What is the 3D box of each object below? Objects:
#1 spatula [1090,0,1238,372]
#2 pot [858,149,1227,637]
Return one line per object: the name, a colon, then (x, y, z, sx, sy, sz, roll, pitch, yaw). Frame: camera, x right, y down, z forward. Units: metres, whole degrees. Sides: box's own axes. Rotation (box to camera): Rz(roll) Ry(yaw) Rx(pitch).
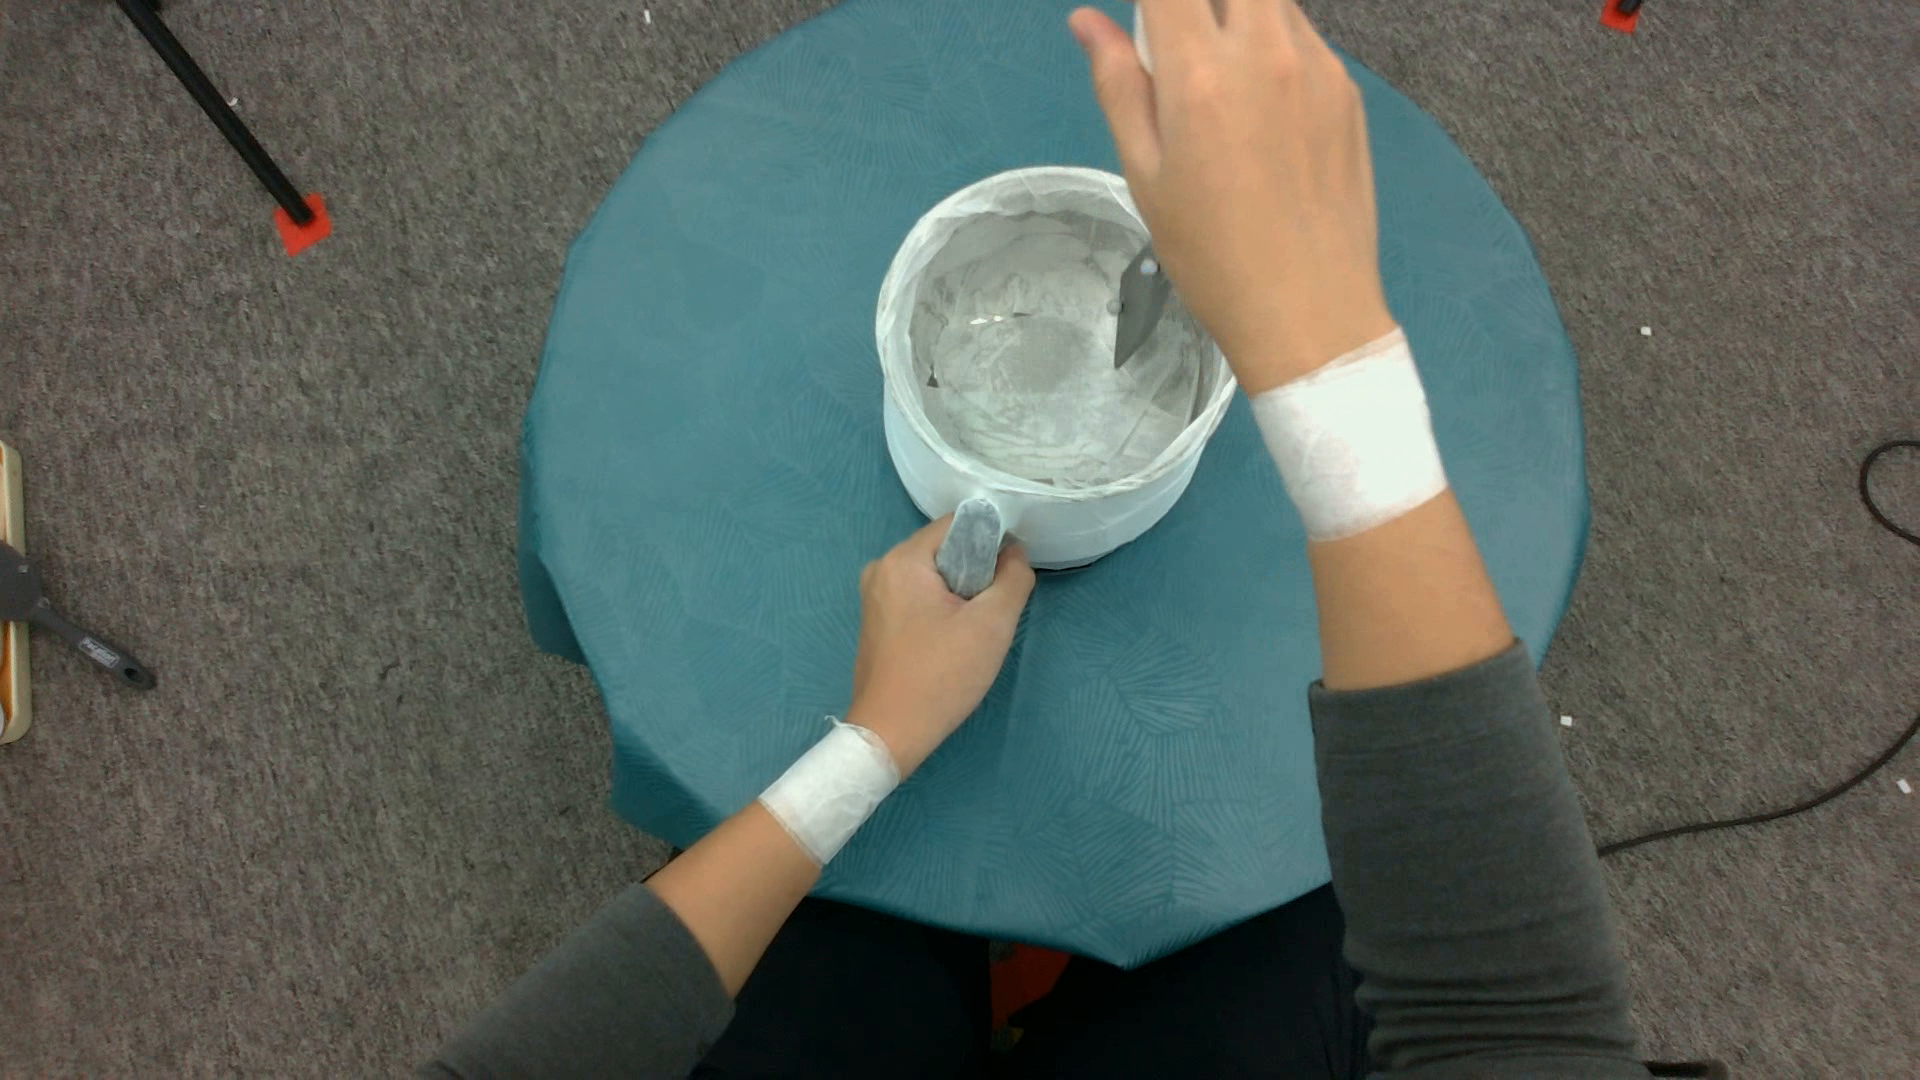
spatula: (0.077, -0.141, 0.582, 0.032, 0.287, 0.059, 3, 77, 2)
pot: (0.028, -0.066, 0.710, 0.178, 0.136, 0.234, 20, 73, 5)
